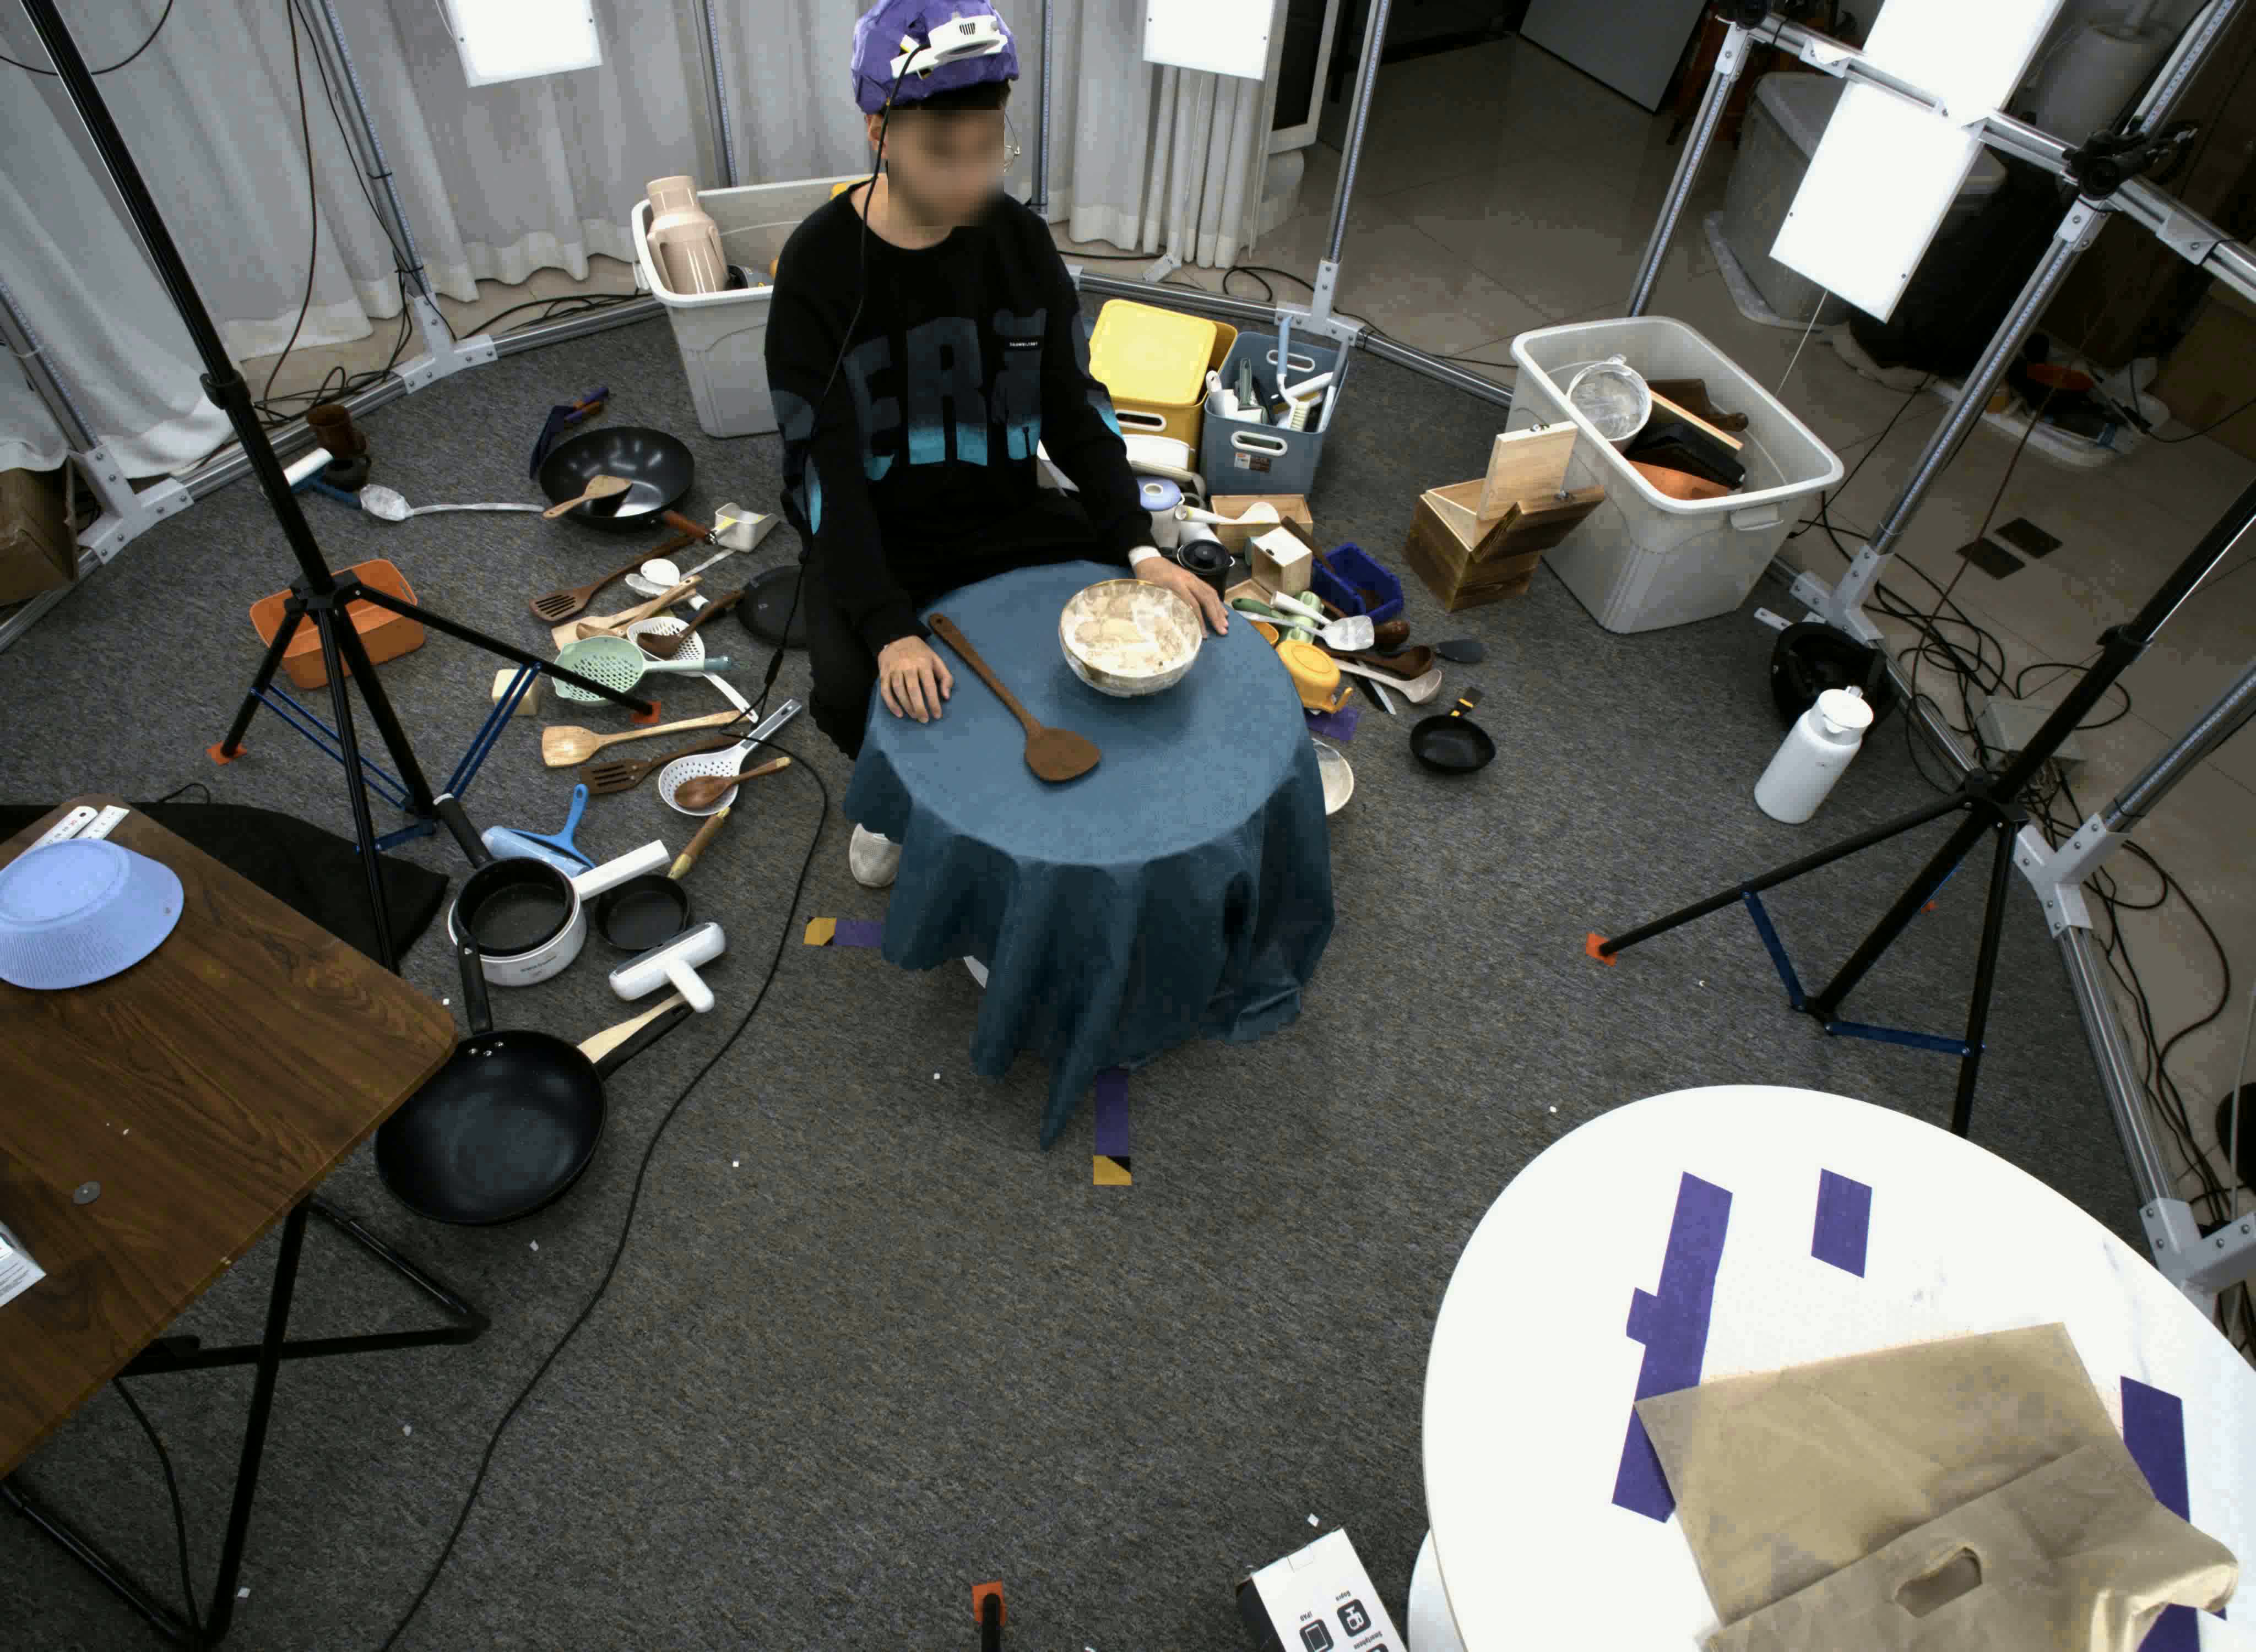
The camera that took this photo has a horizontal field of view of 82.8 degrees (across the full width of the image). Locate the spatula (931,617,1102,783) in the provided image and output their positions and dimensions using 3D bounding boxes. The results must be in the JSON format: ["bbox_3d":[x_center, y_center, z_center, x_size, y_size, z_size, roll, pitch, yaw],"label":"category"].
[{"bbox_3d":[-0.177,-0.190,1.829,0.096,0.015,0.393,-26,55,-24],"label":"spatula"}]

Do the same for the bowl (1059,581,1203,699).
[{"bbox_3d":[0.003,-0.253,1.845,0.214,0.092,0.220,1,48,-1],"label":"bowl"}]
